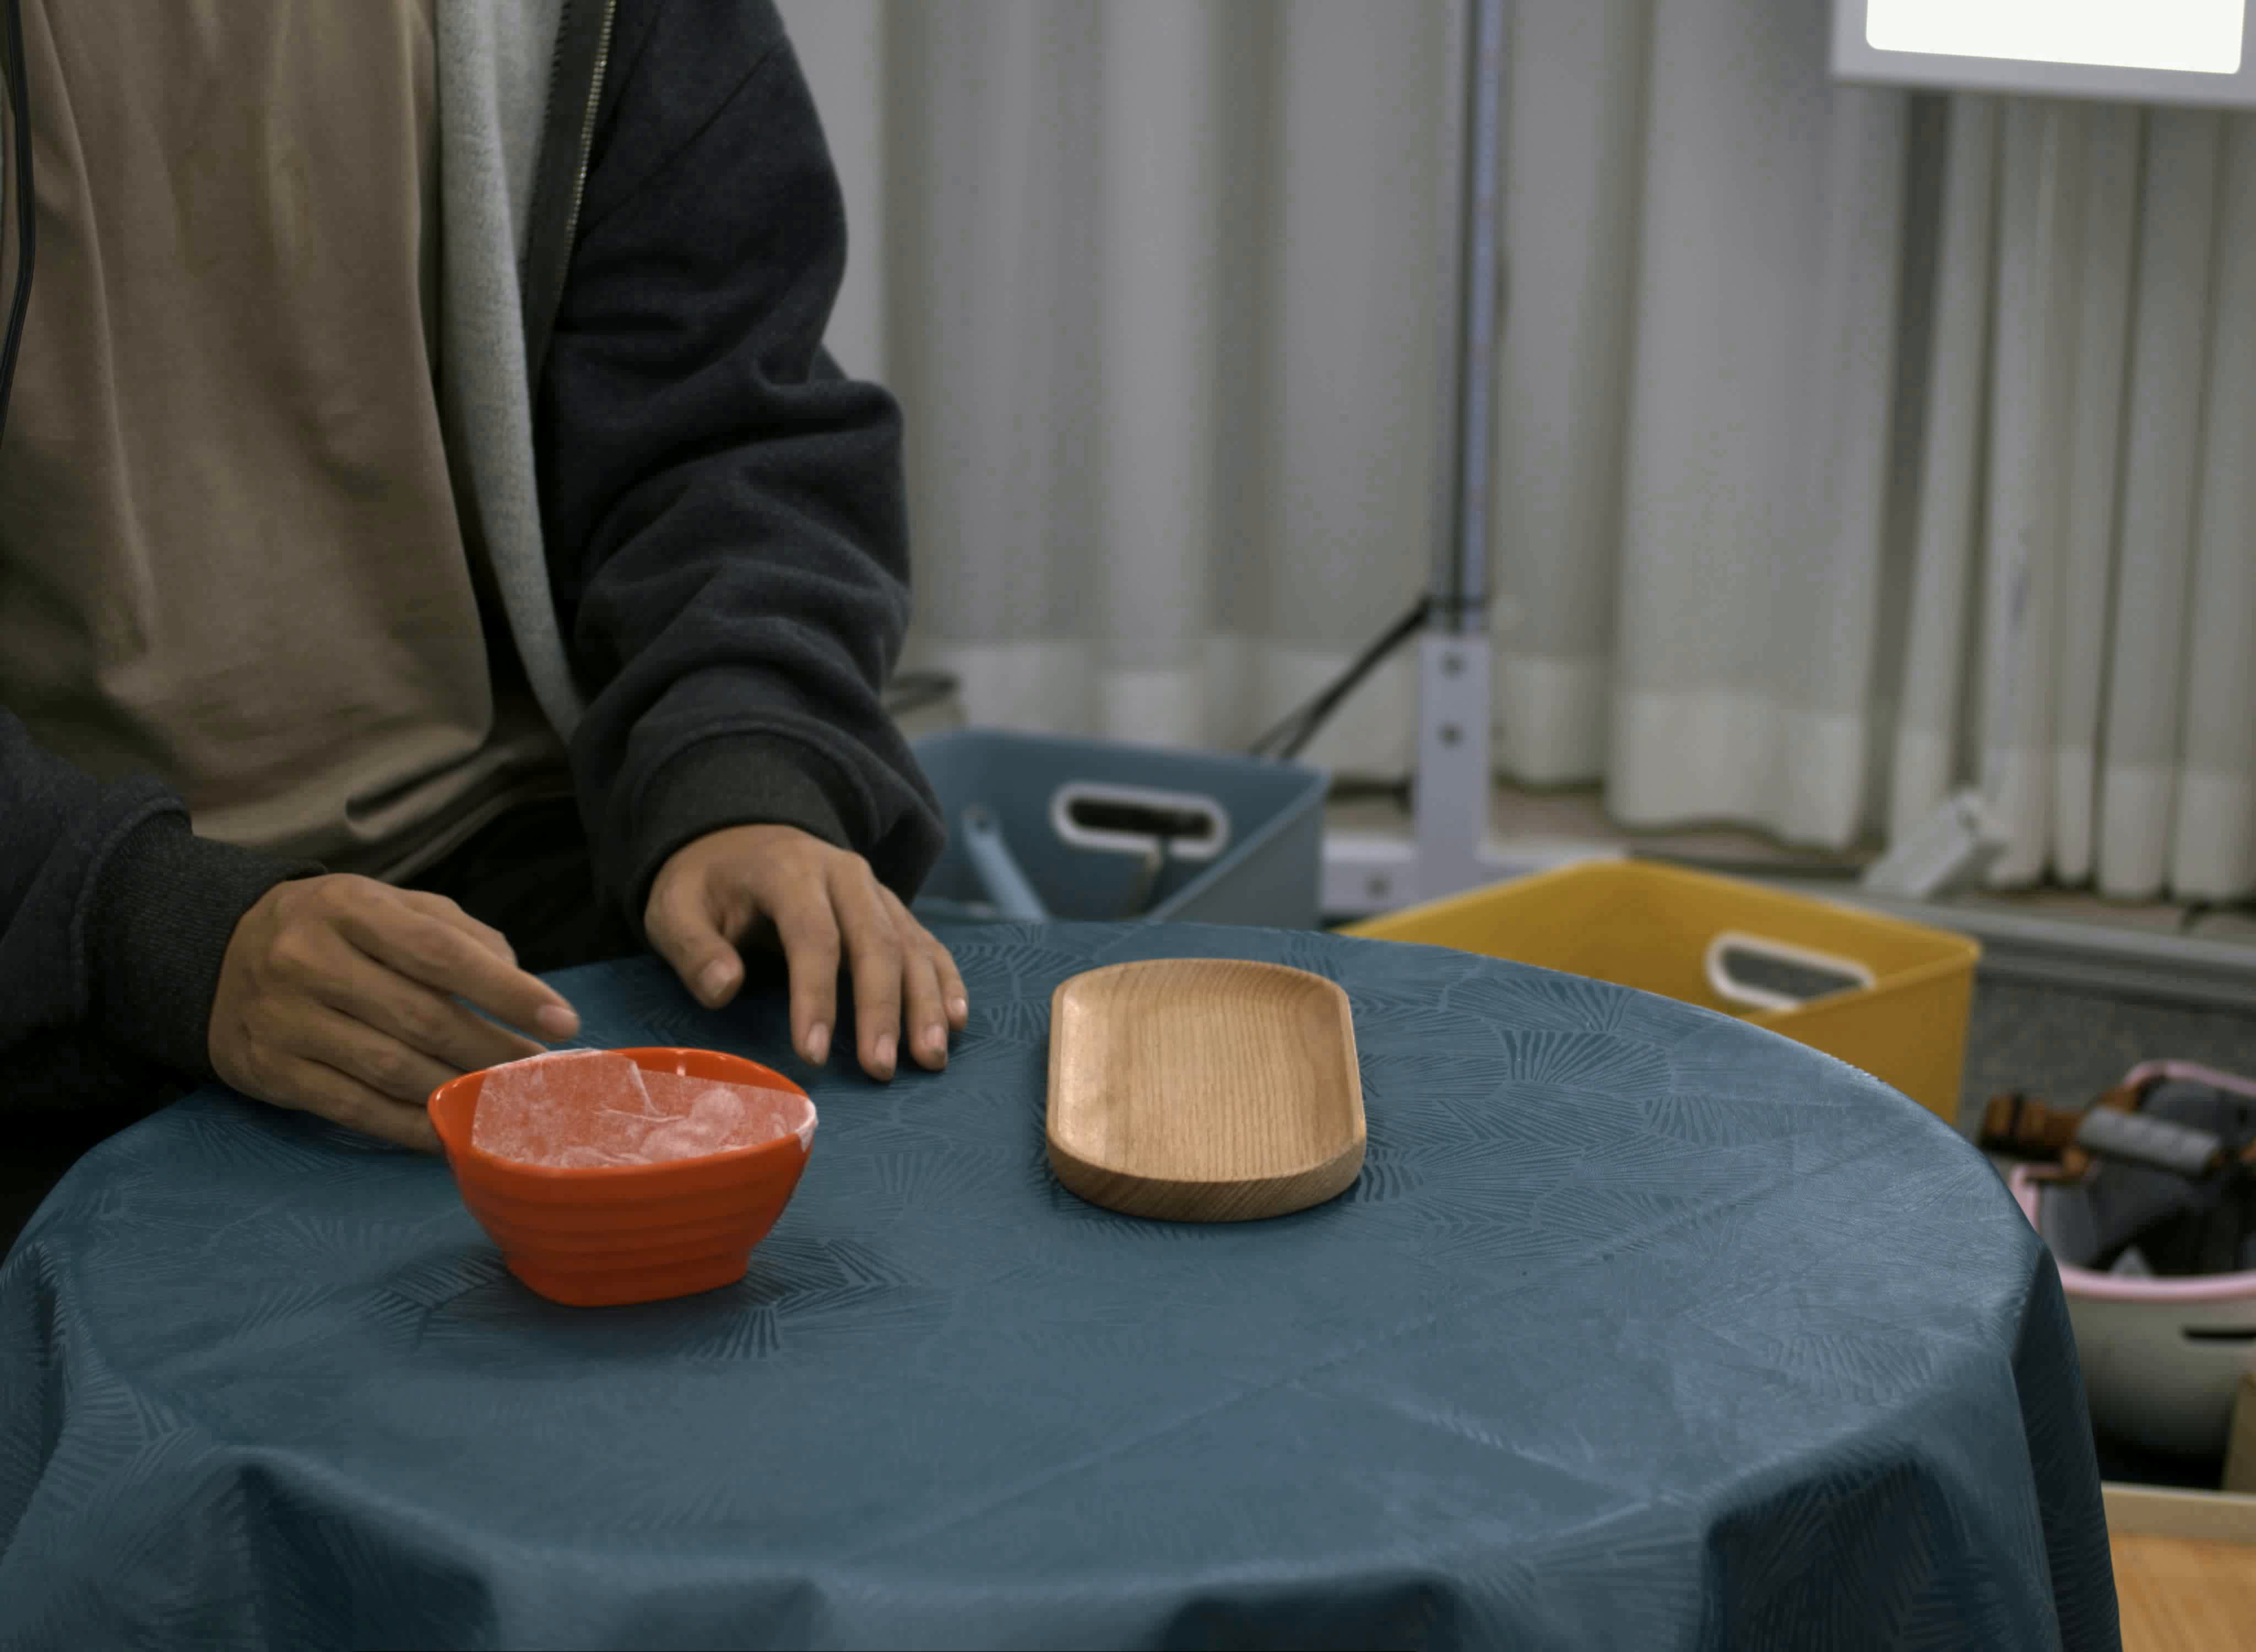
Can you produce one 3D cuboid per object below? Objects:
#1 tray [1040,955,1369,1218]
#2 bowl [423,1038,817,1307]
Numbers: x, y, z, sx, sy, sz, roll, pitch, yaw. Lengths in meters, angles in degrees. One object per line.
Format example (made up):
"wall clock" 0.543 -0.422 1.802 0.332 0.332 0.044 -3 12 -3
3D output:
"tray" 0.023 0.082 1.703 0.101 0.020 0.230 1 14 -2
"bowl" -0.149 0.104 1.547 0.118 0.052 0.118 0 17 1
